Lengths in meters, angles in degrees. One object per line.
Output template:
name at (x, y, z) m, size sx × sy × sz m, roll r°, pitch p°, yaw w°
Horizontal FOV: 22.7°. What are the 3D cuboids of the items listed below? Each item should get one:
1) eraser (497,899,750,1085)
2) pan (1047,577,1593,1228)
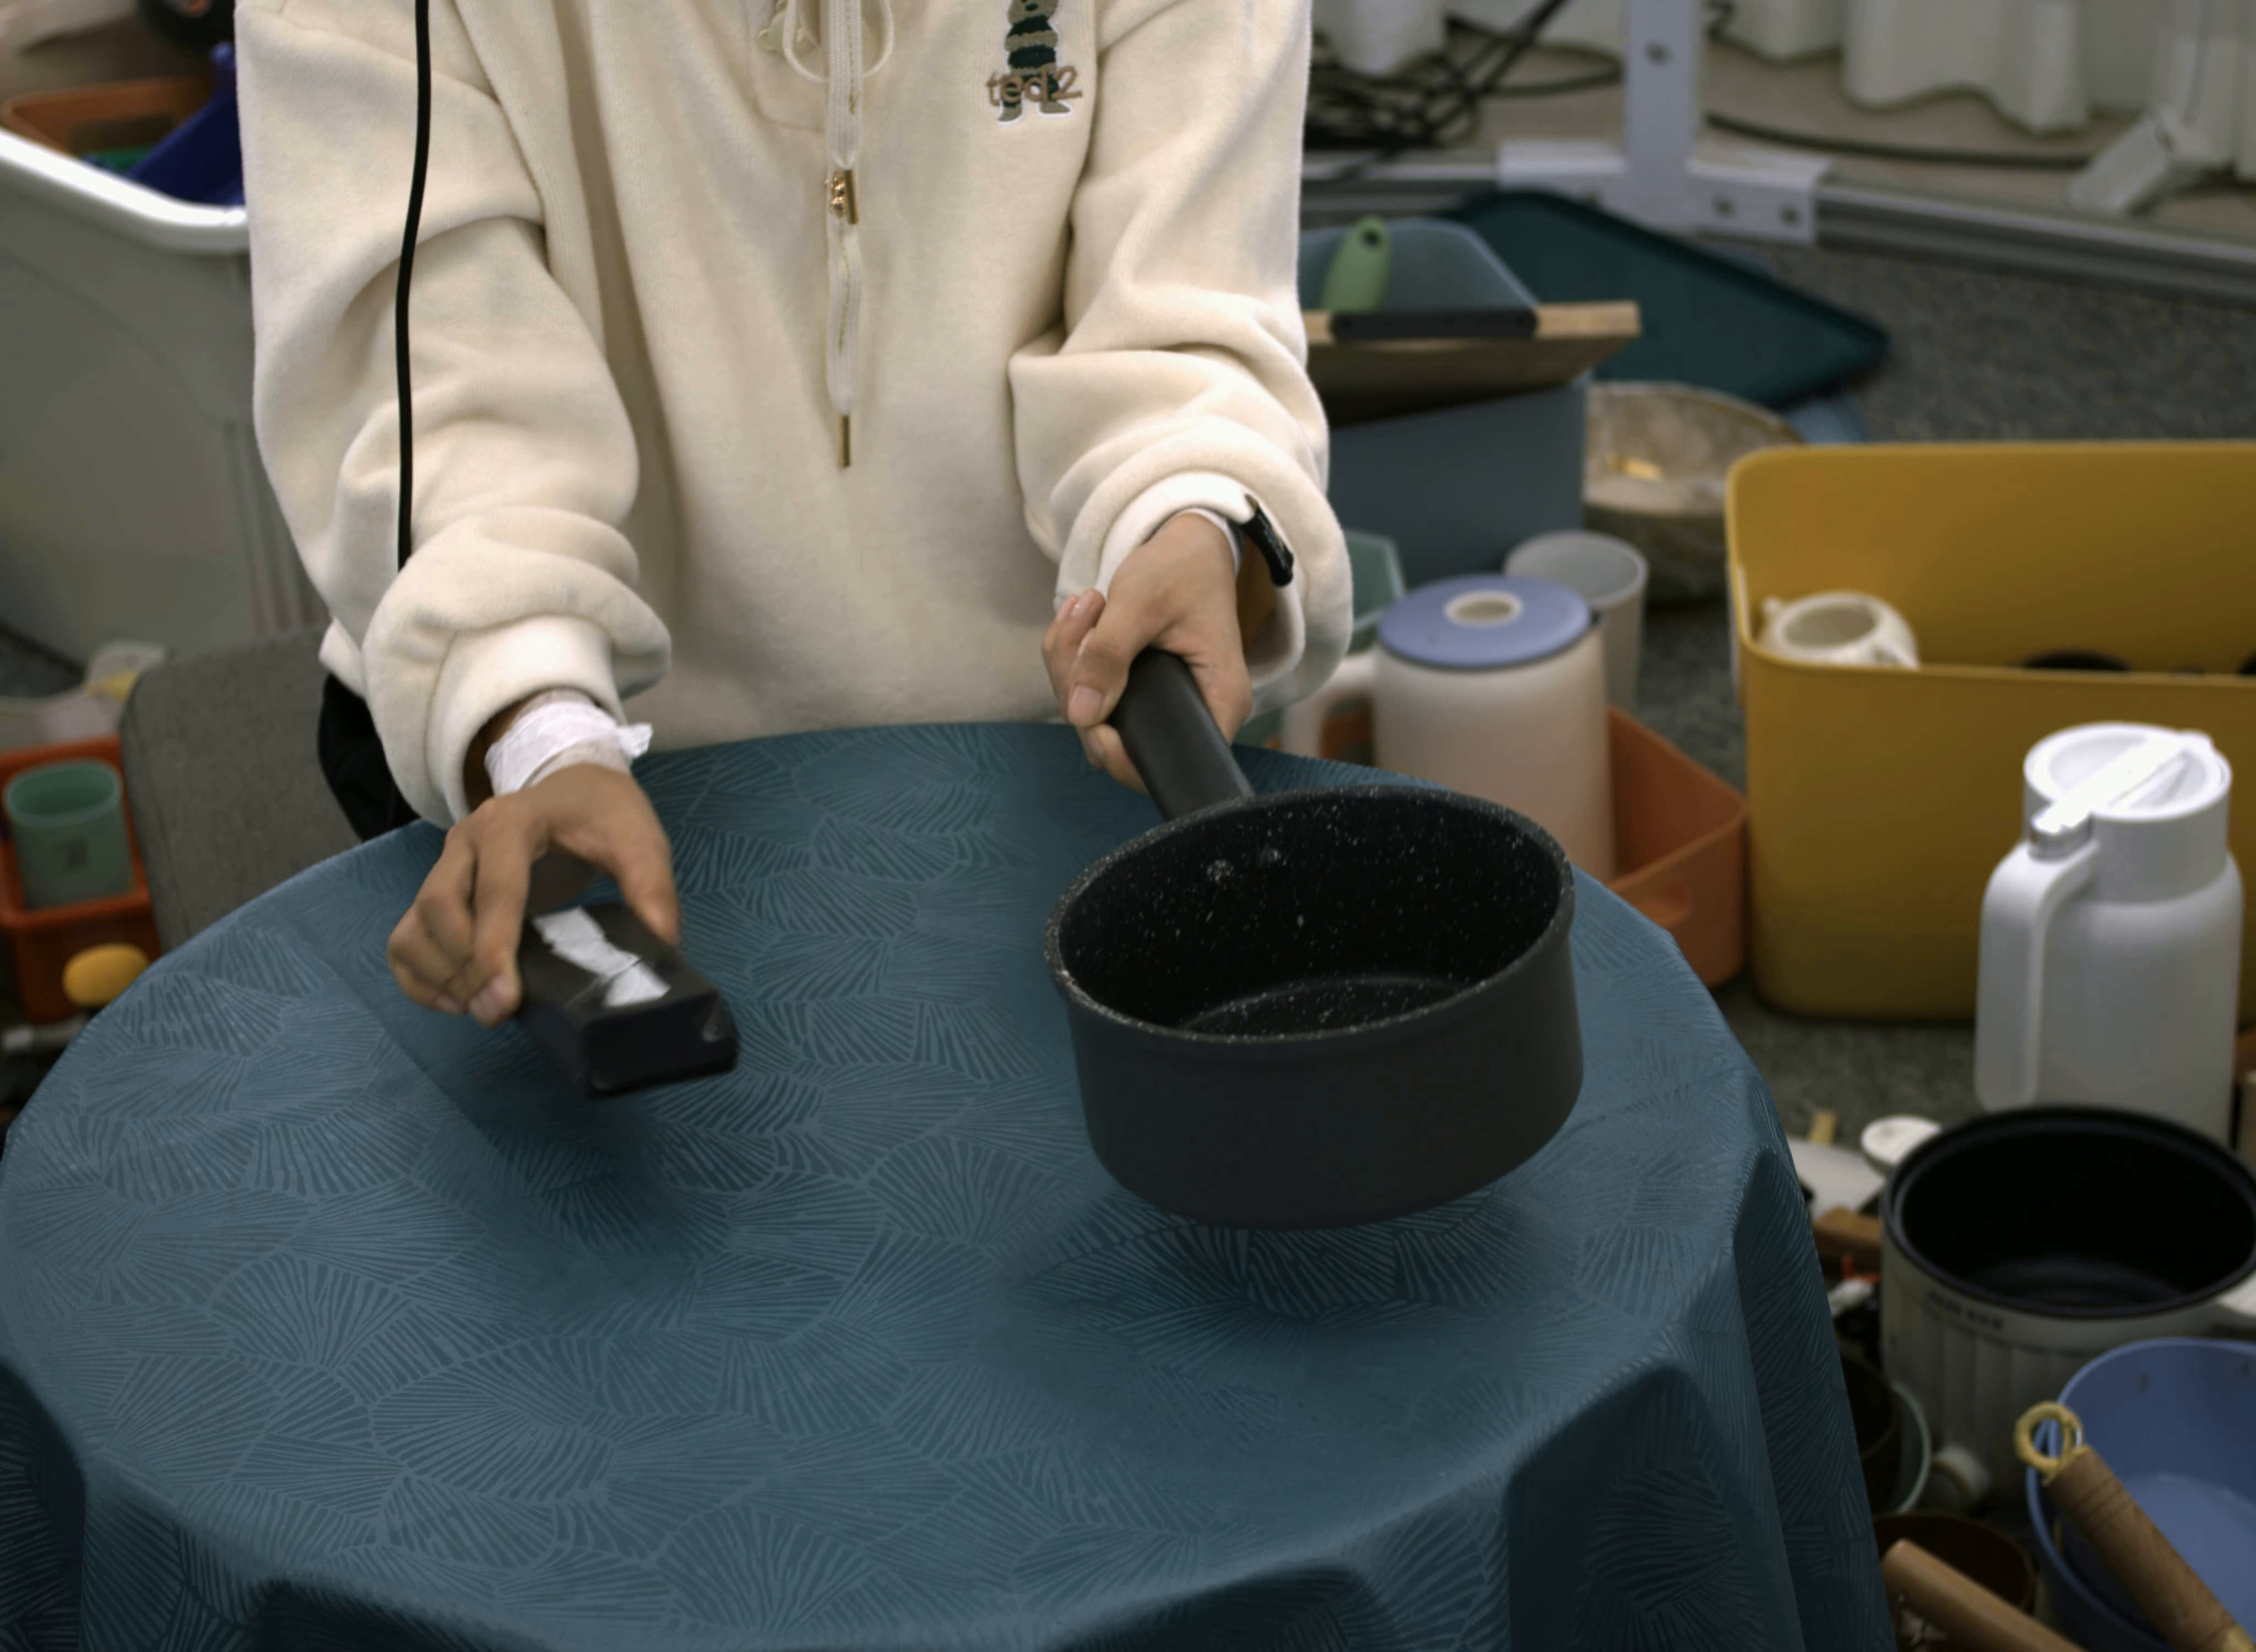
eraser at (-0.168, 0.055, 1.875) m, size 0.053 × 0.030 × 0.125 m, roll -12°, pitch 16°, yaw -19°
pan at (0.045, 0.020, 1.878) m, size 0.172 × 0.085 × 0.332 m, roll -13°, pitch 28°, yaw -8°
